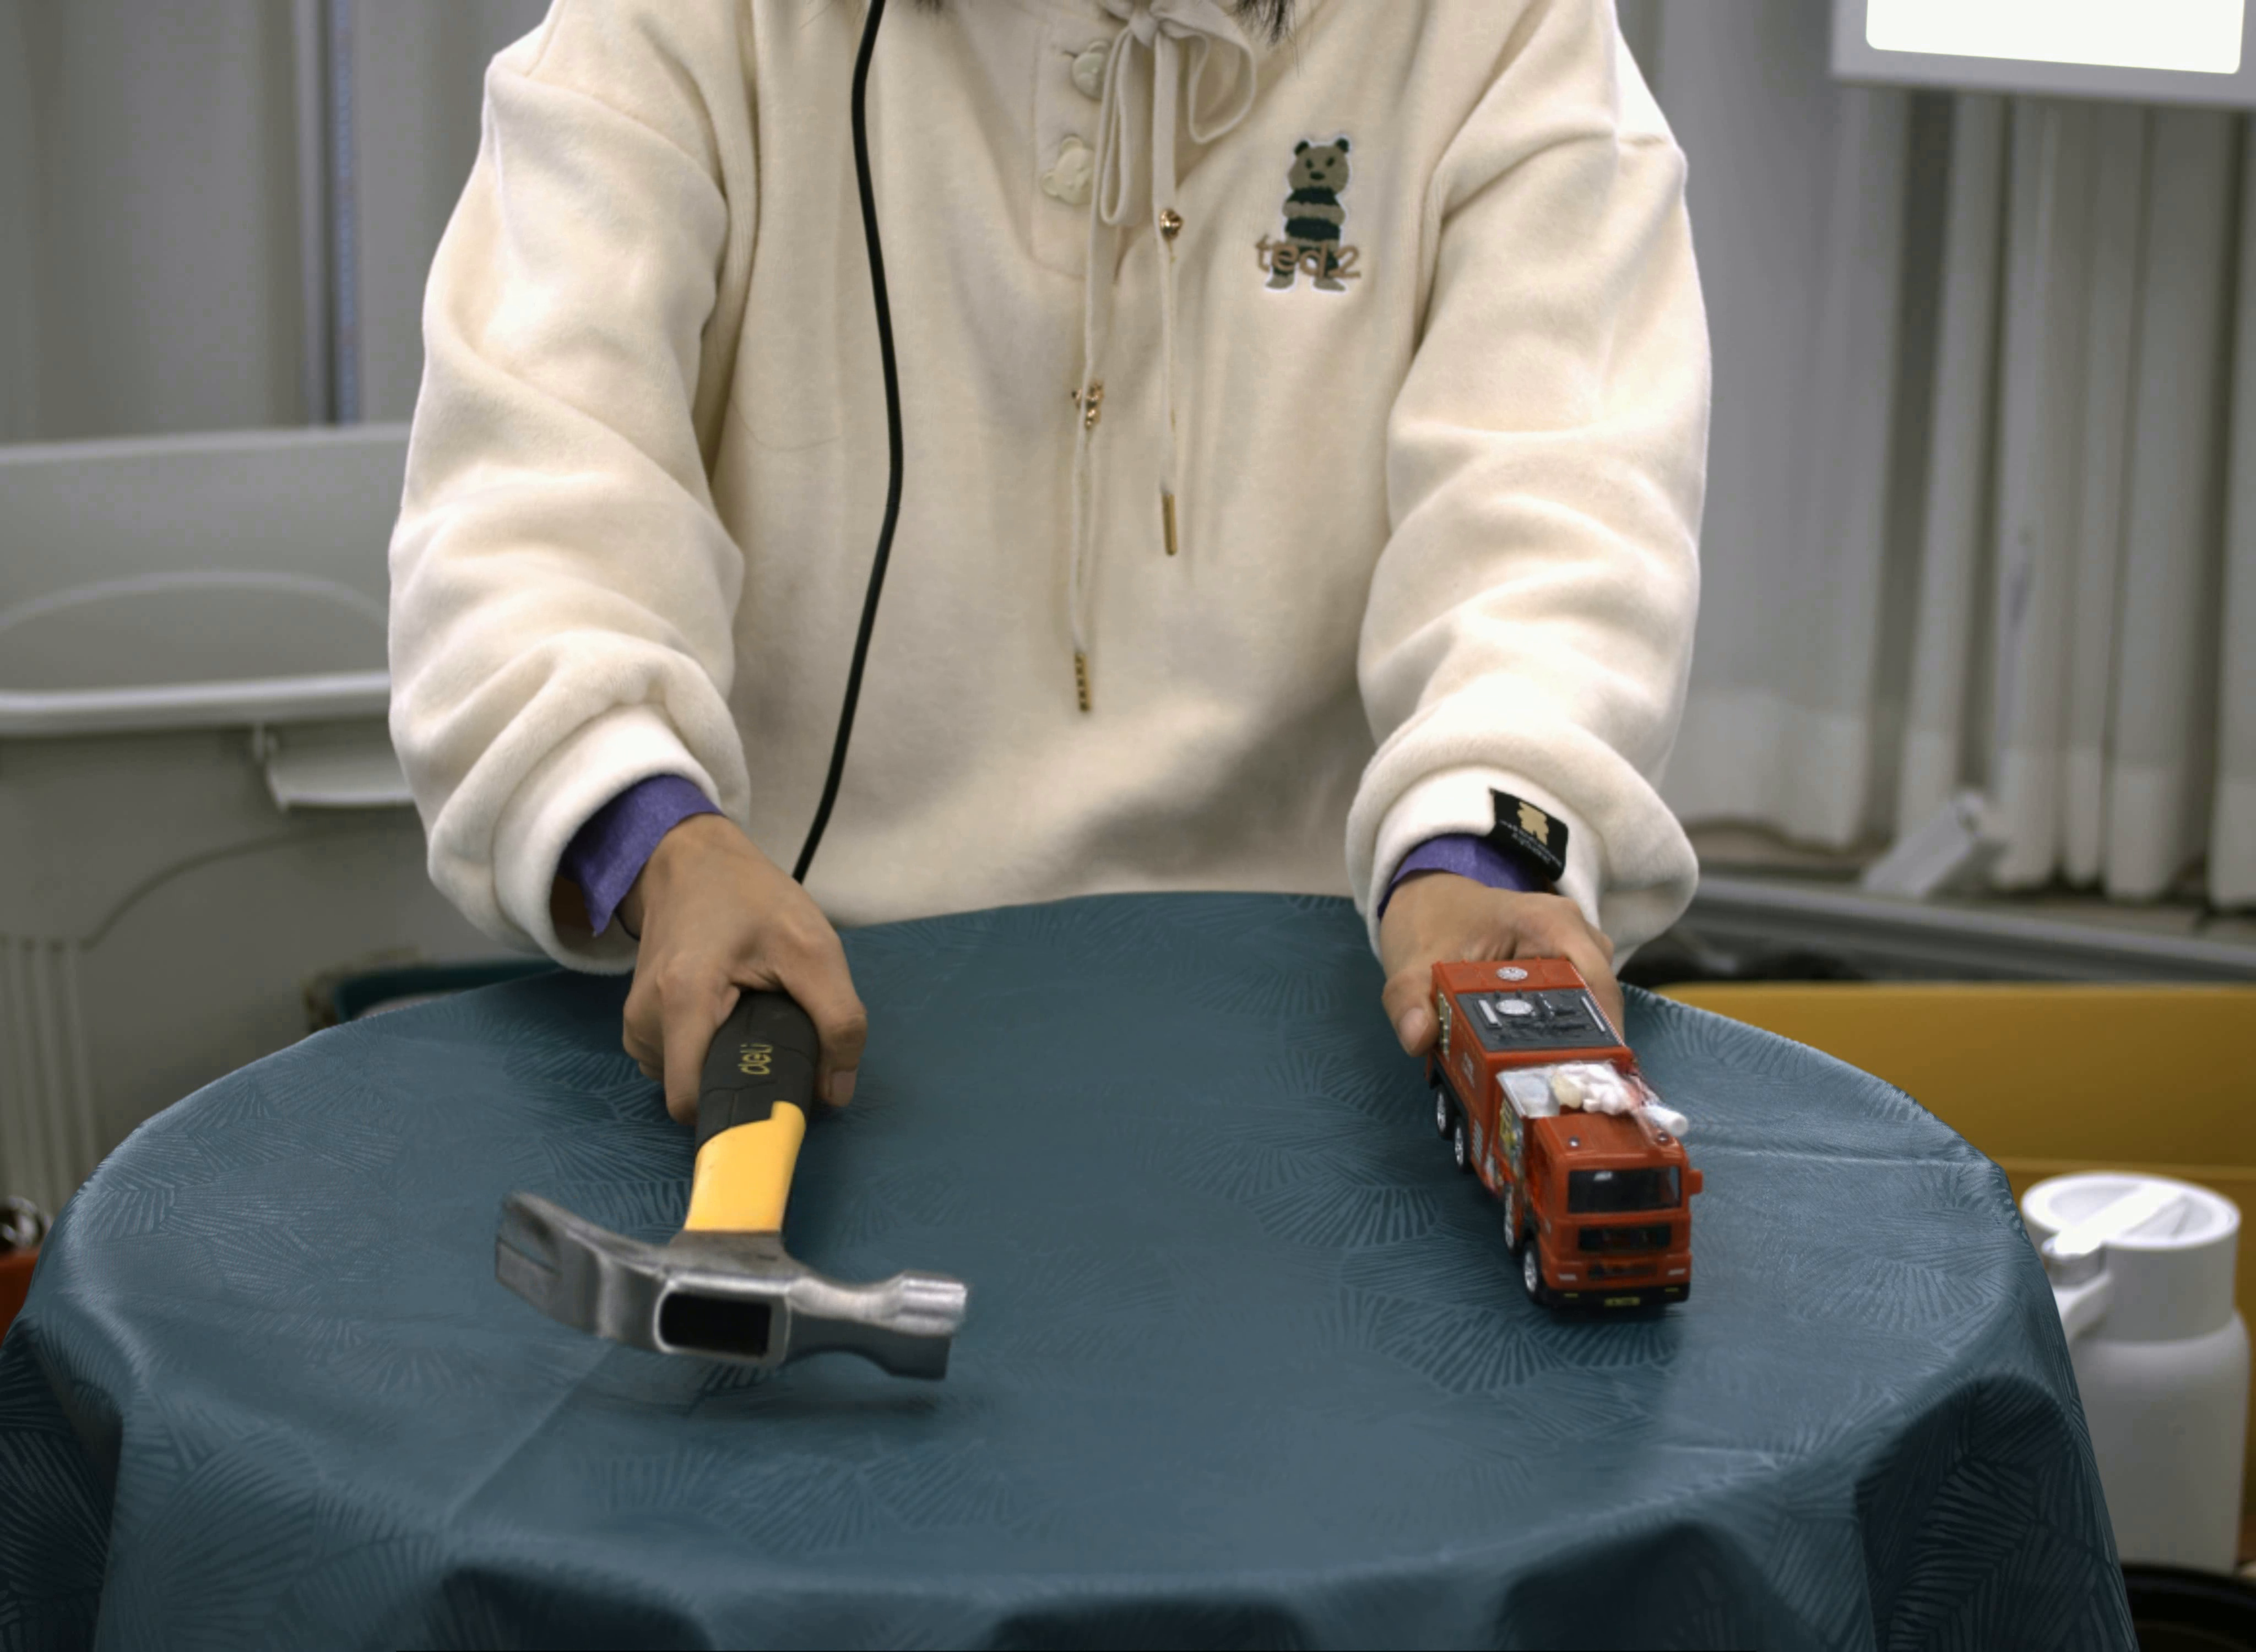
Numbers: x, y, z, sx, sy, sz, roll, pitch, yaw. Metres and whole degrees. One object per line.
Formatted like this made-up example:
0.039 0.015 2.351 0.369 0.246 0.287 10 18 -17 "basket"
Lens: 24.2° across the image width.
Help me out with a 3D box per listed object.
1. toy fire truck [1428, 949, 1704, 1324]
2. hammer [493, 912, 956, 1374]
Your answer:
0.130 0.090 1.575 0.054 0.071 0.166 -1 20 -11 "toy fire truck"
-0.112 0.086 1.586 0.131 0.032 0.336 5 16 -2 "hammer"
